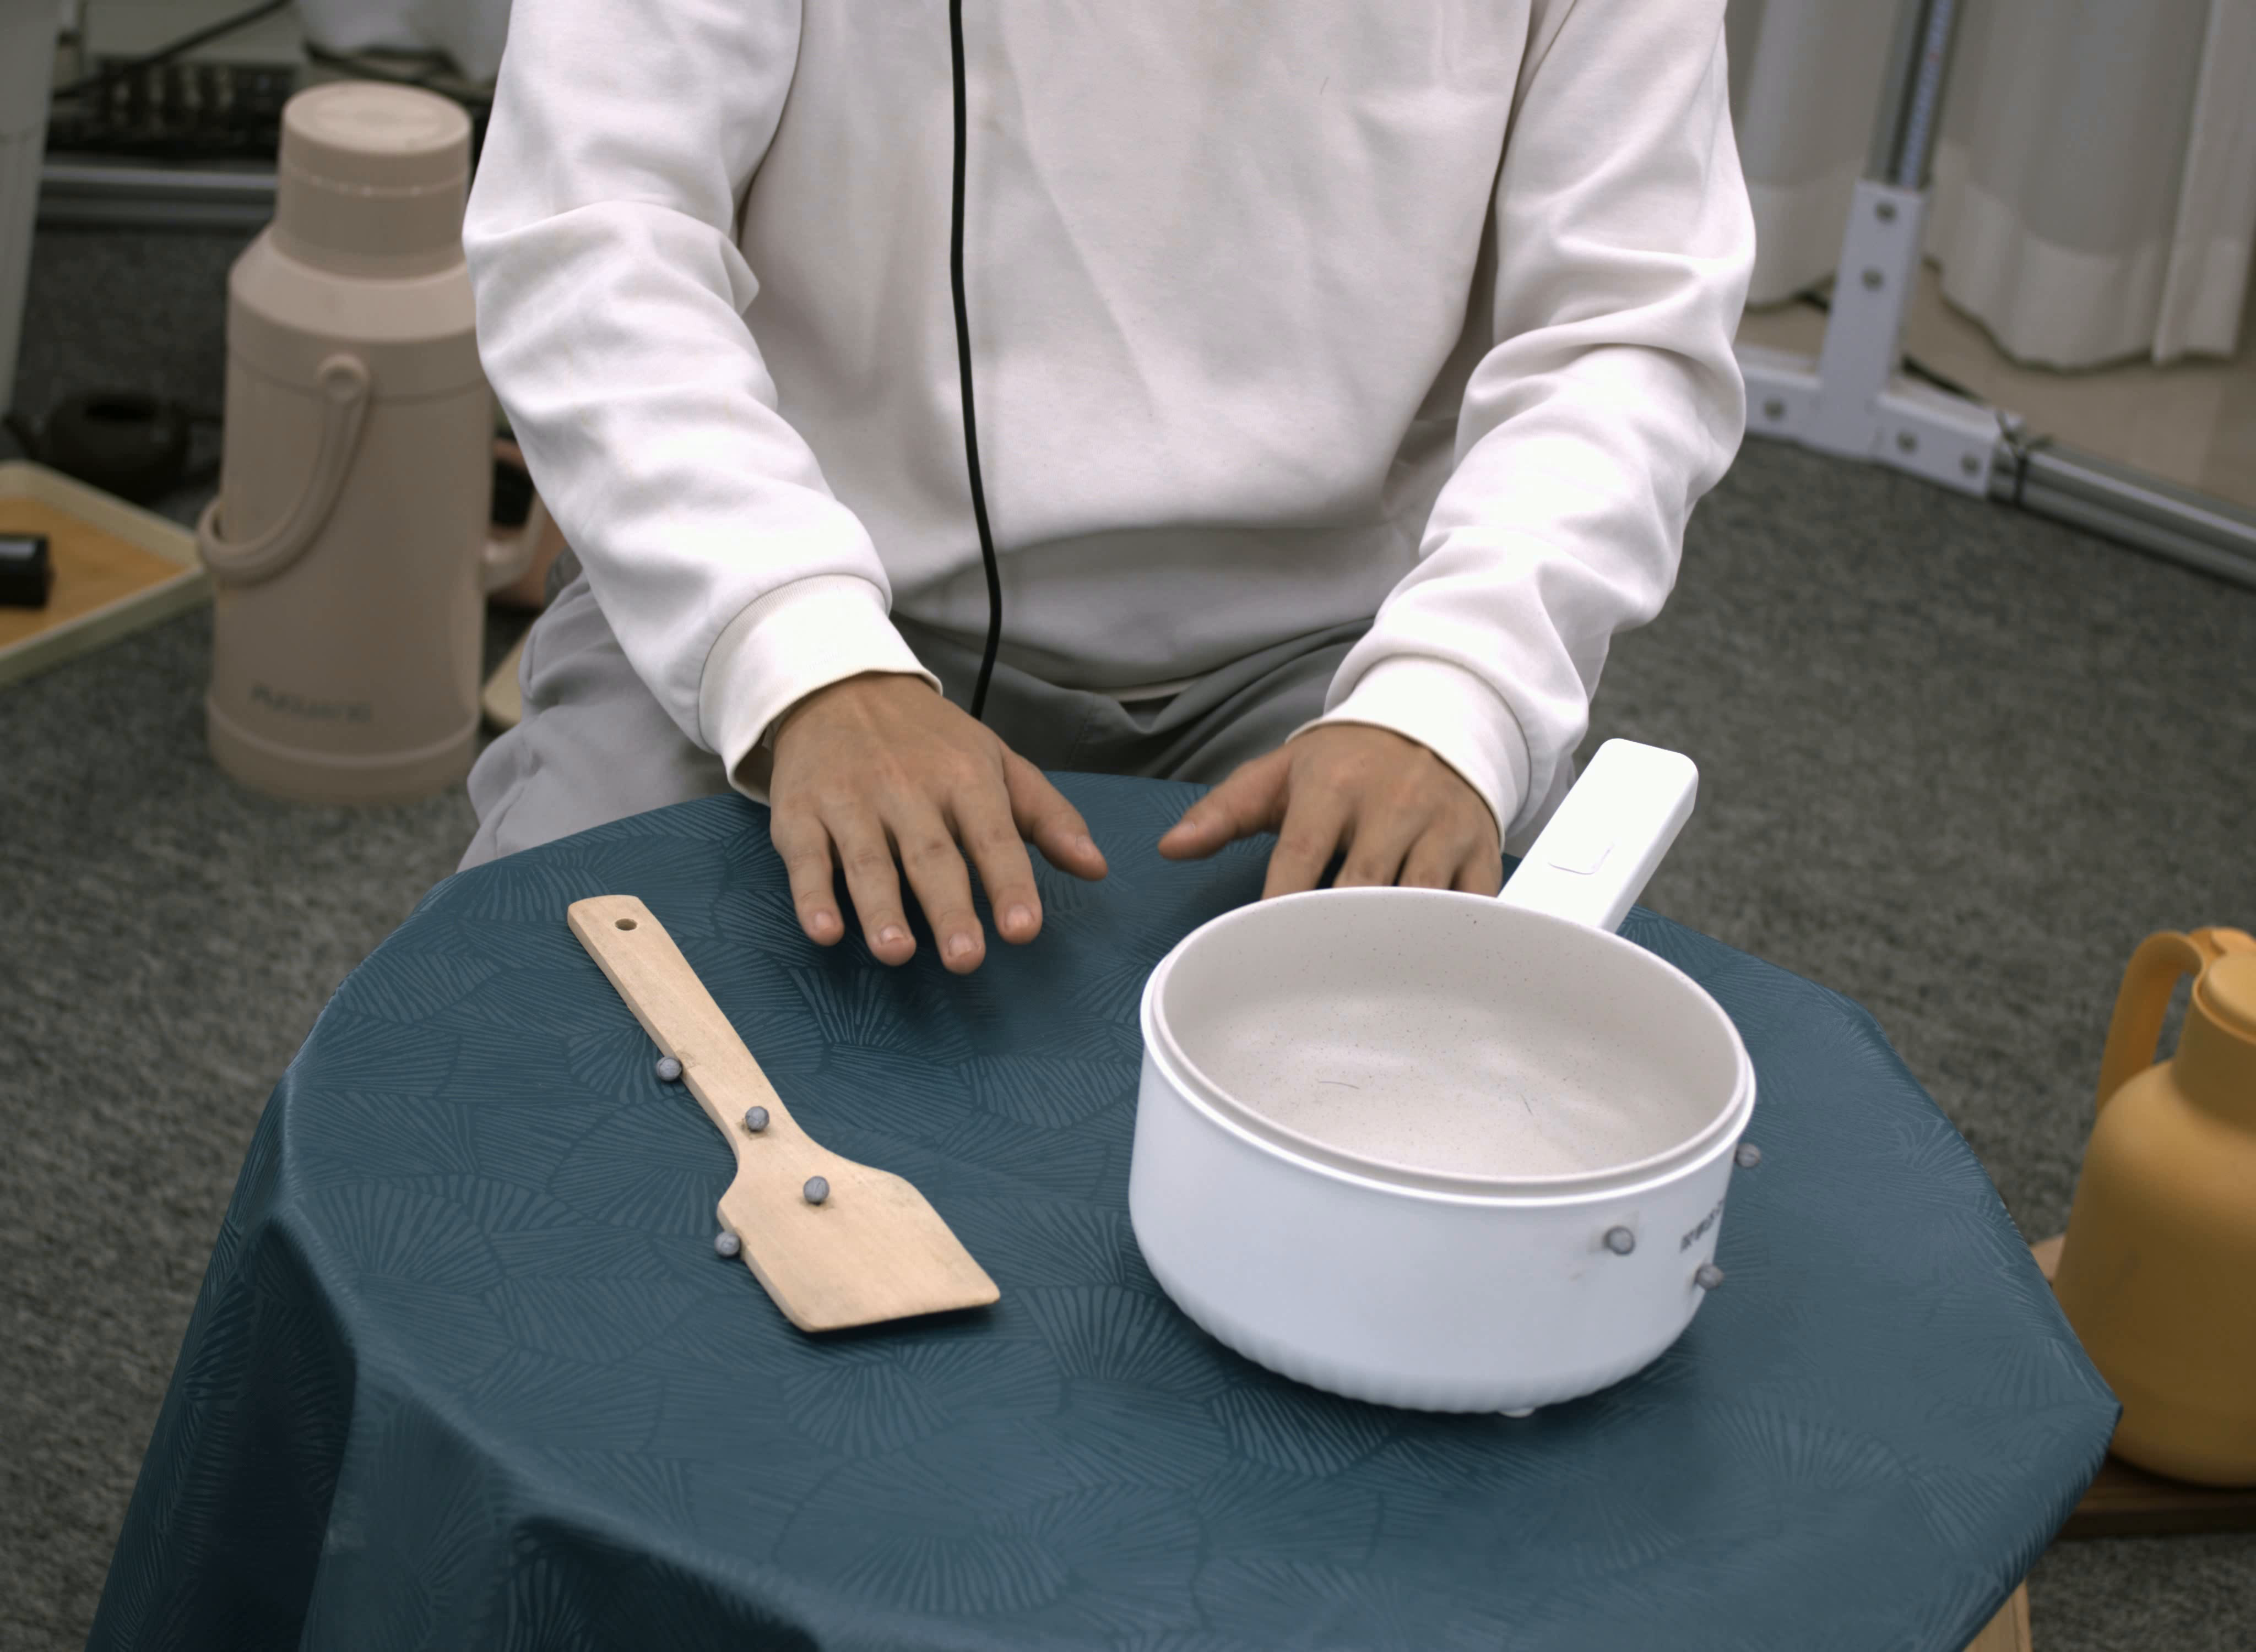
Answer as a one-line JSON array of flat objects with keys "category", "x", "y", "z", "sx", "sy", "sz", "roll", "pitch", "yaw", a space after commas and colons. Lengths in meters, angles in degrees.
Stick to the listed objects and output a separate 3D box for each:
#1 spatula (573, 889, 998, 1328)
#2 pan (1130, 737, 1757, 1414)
[{"category": "spatula", "x": -0.133, "y": 0.092, "z": 1.827, "sx": 0.072, "sy": 0.010, "sz": 0.296, "roll": -8, "pitch": 30, "yaw": -24}, {"category": "pan", "x": 0.126, "y": 0.079, "z": 1.812, "sx": 0.201, "sy": 0.102, "sz": 0.355, "roll": 15, "pitch": 27, "yaw": 15}]
